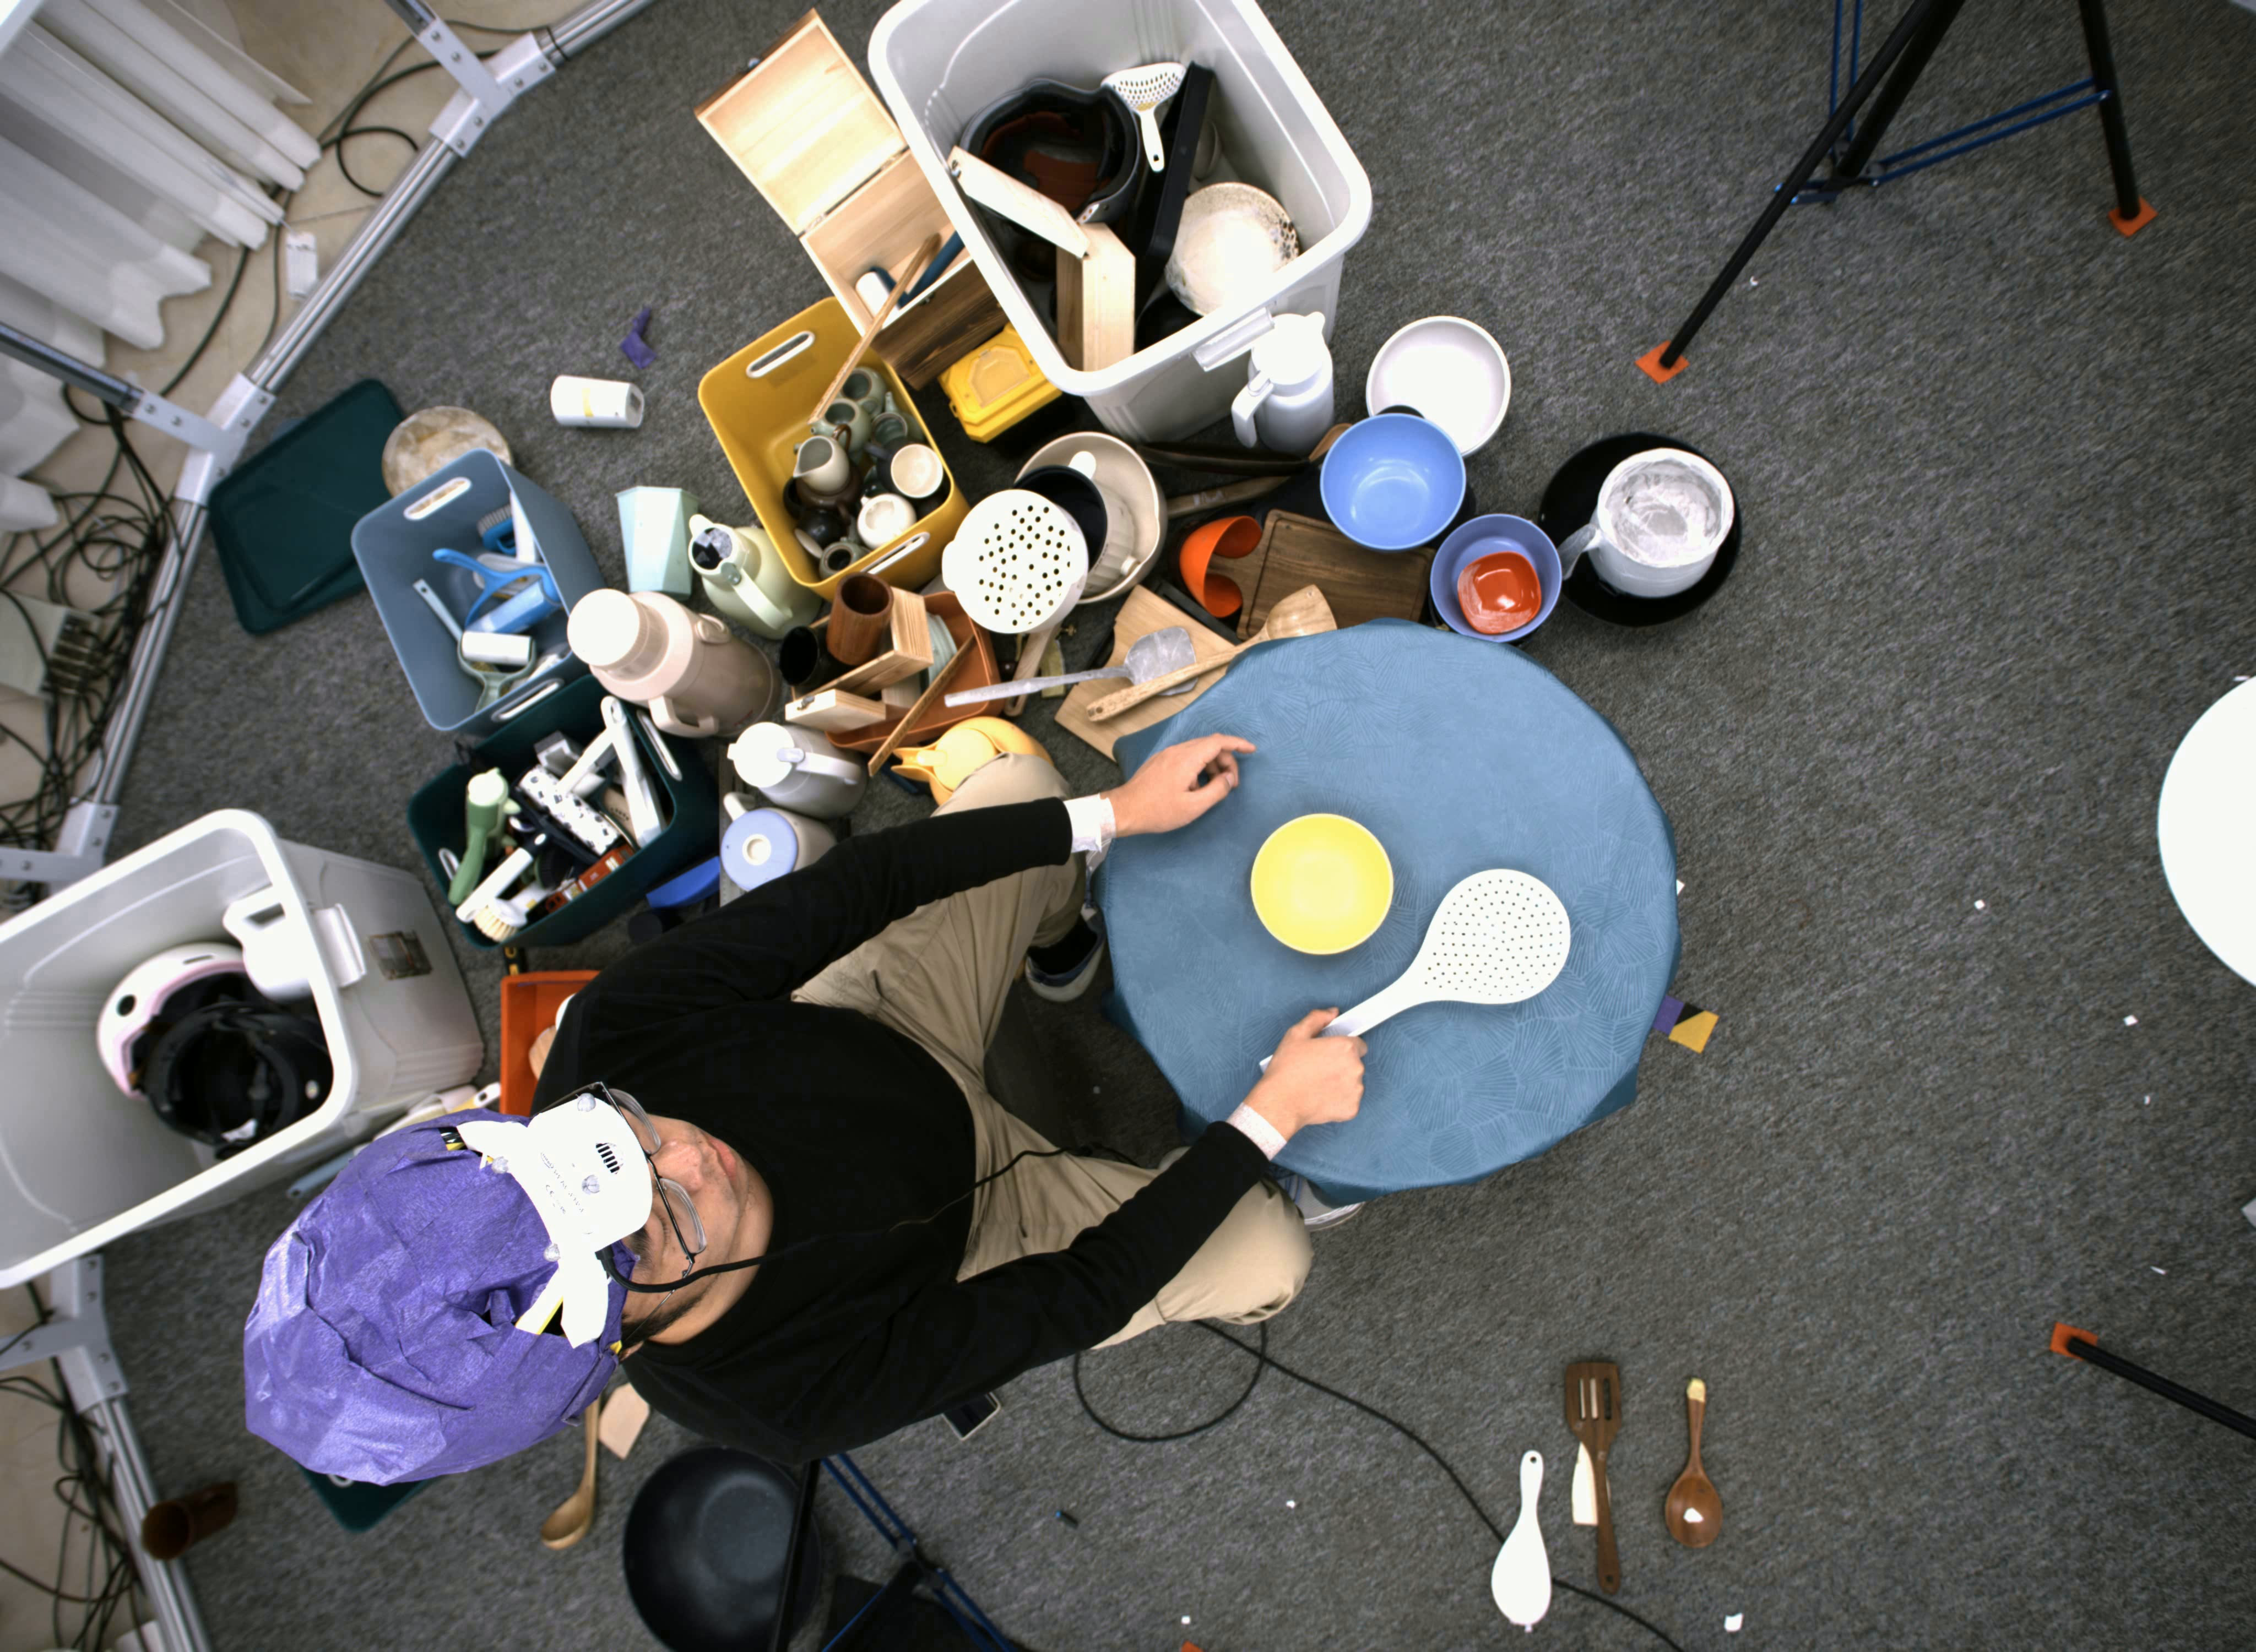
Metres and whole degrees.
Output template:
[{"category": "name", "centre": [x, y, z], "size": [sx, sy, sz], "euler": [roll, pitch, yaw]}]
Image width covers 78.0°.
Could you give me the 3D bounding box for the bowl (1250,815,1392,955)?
[{"category": "bowl", "centre": [0.201, 0.063, 1.445], "size": [0.146, 0.060, 0.144], "euler": [-1, 84, 9]}]

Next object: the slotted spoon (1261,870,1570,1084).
[{"category": "slotted spoon", "centre": [0.291, 0.169, 1.424], "size": [0.352, 0.046, 0.134], "euler": [-31, 70, 7]}]
